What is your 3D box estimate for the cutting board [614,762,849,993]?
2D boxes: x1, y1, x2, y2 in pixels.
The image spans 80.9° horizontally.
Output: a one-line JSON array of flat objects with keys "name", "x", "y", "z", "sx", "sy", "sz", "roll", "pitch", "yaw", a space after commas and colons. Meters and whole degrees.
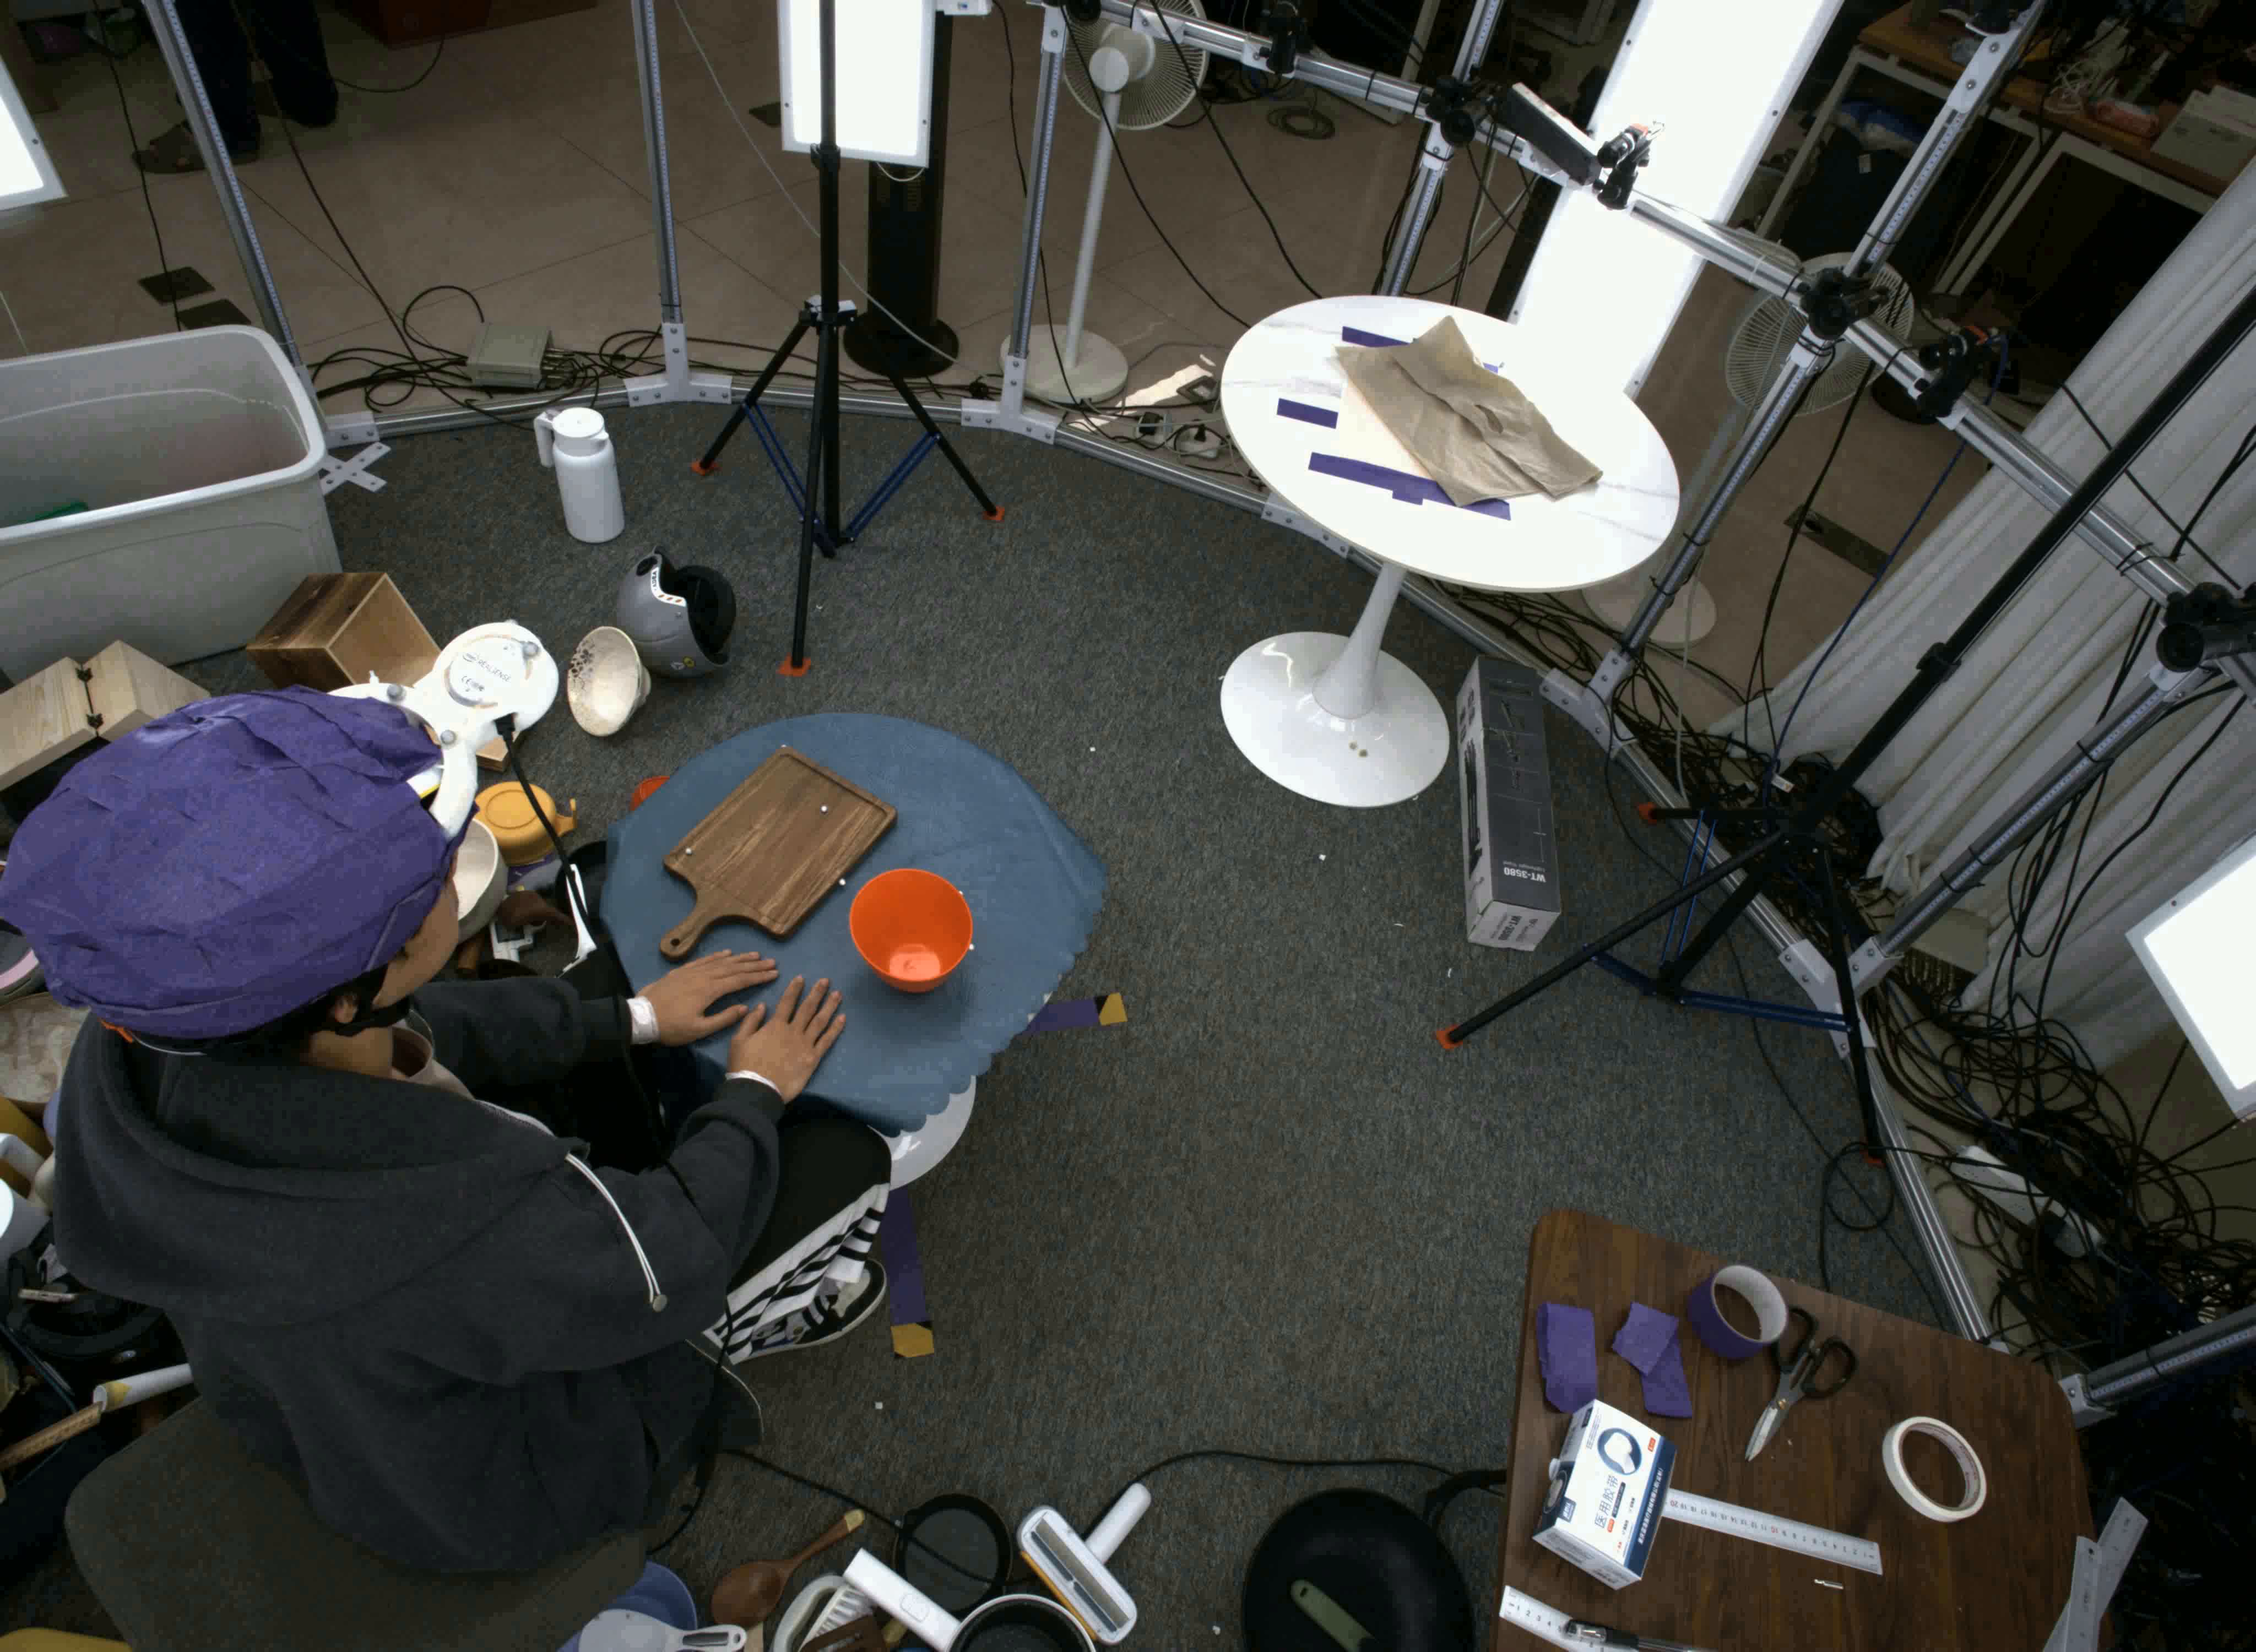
[{"name": "cutting board", "x": -0.530, "y": 0.072, "z": 1.635, "sx": 0.198, "sy": 0.023, "sz": 0.350, "roll": 27, "pitch": 52, "yaw": 7}]

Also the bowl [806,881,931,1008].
[{"name": "bowl", "x": -0.314, "y": 0.154, "z": 1.577, "sx": 0.148, "sy": 0.107, "sz": 0.145, "roll": 8, "pitch": 51, "yaw": -8}]
